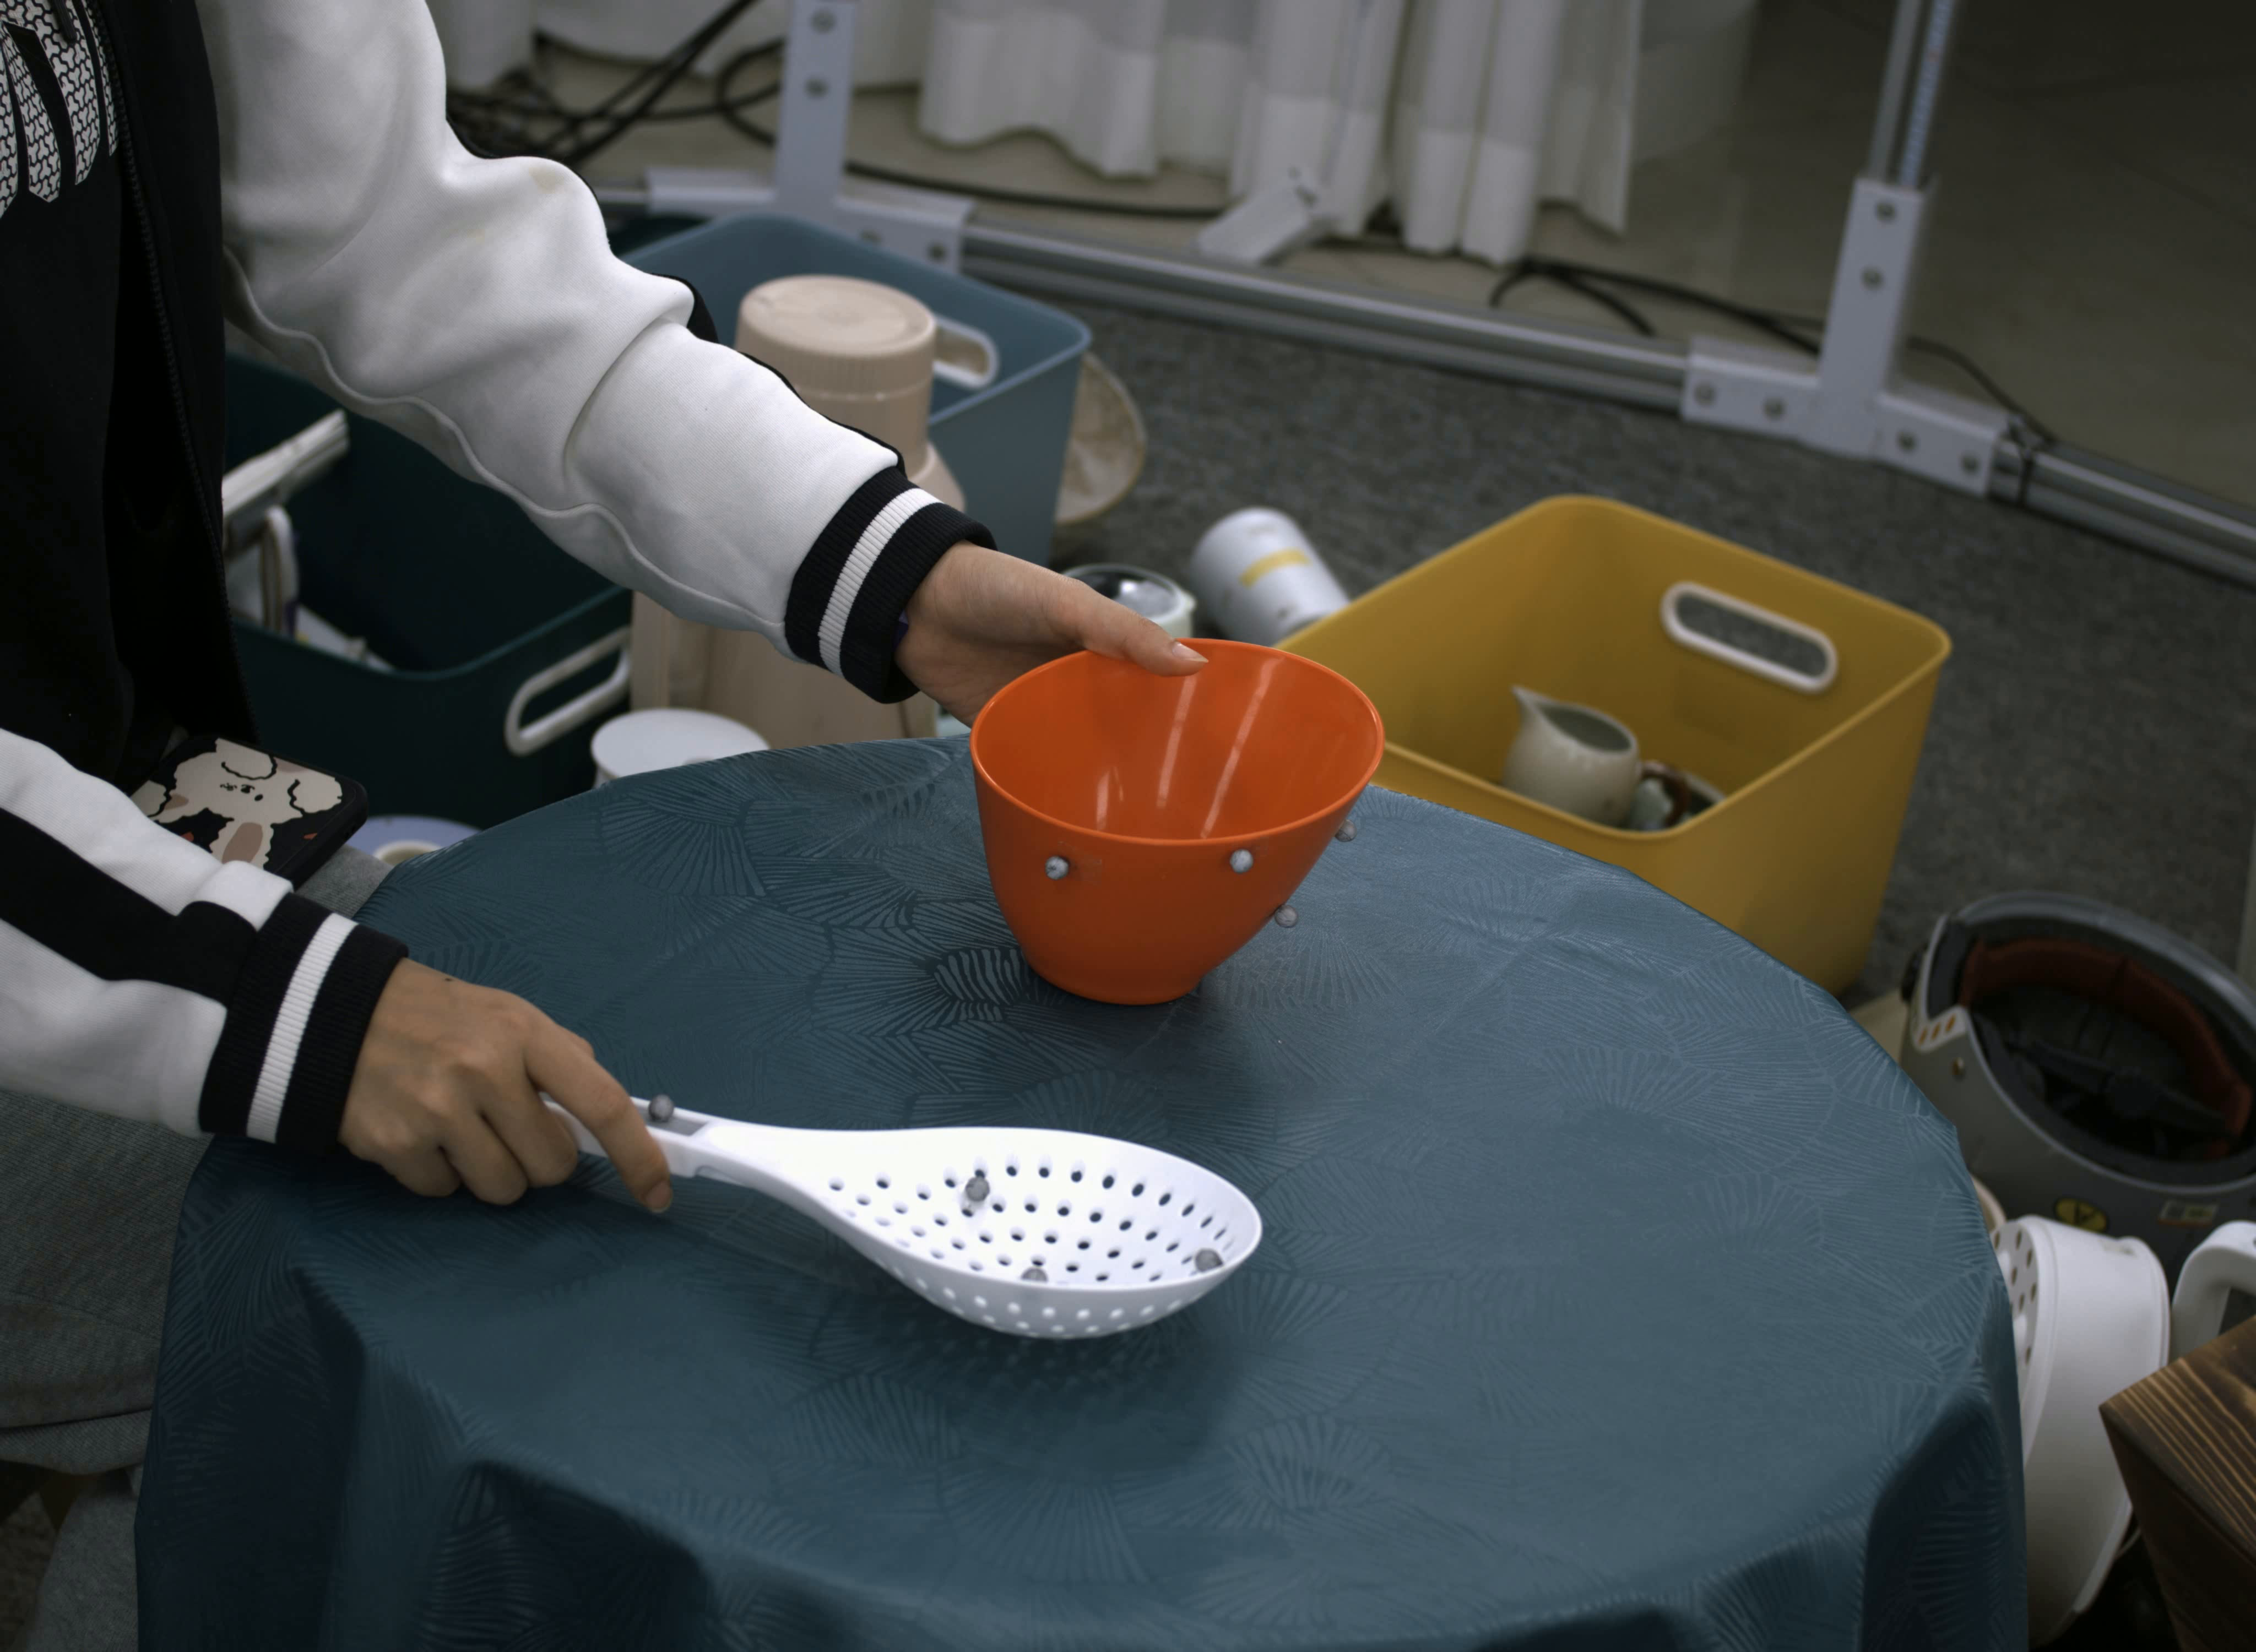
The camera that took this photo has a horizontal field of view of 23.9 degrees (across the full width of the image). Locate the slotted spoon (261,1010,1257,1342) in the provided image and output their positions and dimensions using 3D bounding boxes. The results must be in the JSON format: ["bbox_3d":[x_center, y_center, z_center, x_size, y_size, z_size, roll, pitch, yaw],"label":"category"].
[{"bbox_3d":[-0.127,0.108,1.744,0.350,0.045,0.136,17,20,17],"label":"slotted spoon"}]

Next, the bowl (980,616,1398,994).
[{"bbox_3d":[0.017,0.000,1.923,0.147,0.104,0.149,6,34,-4],"label":"bowl"}]
